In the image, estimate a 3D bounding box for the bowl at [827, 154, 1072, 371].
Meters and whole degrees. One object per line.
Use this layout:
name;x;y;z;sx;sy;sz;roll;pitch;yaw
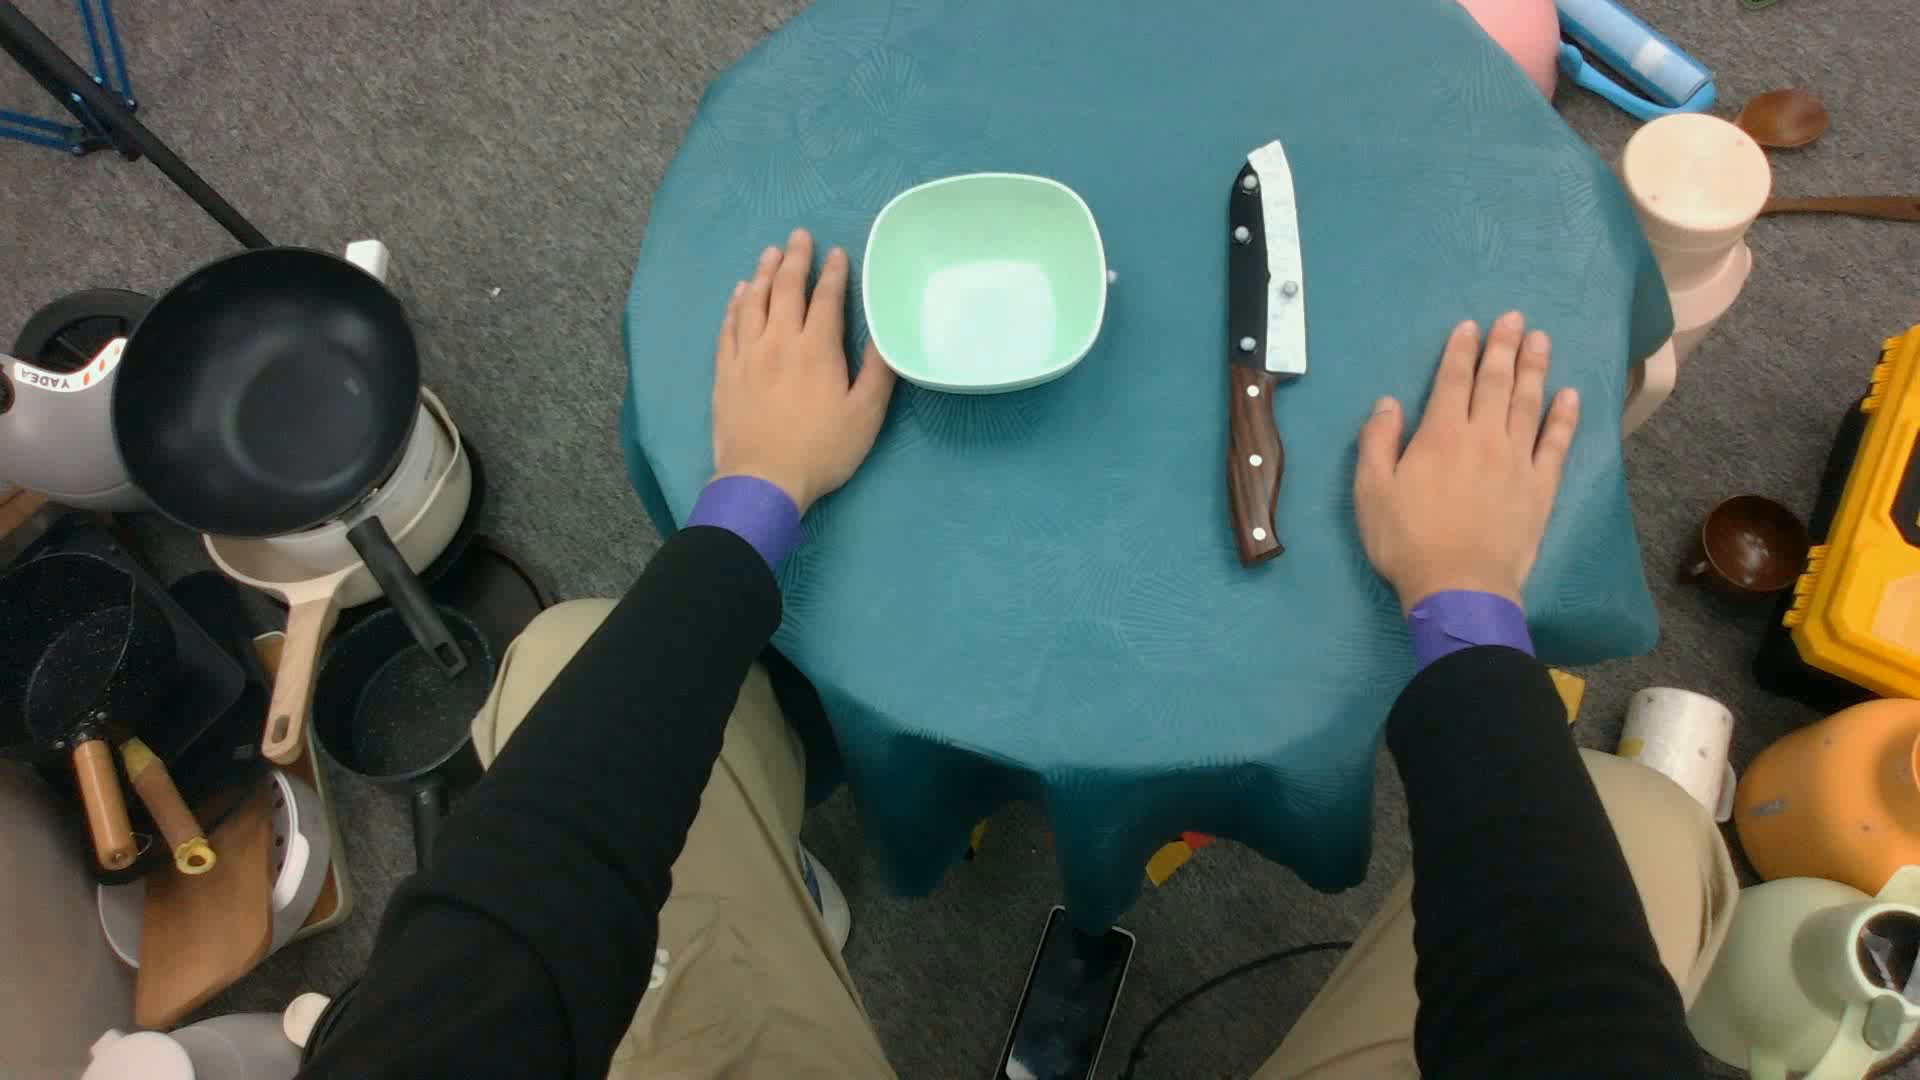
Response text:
bowl;-0.005;-0.151;0.802;0.151;0.058;0.152;-1;67;3

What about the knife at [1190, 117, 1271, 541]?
knife;0.158;-0.133;0.809;0.050;0.020;0.290;5;67;0
